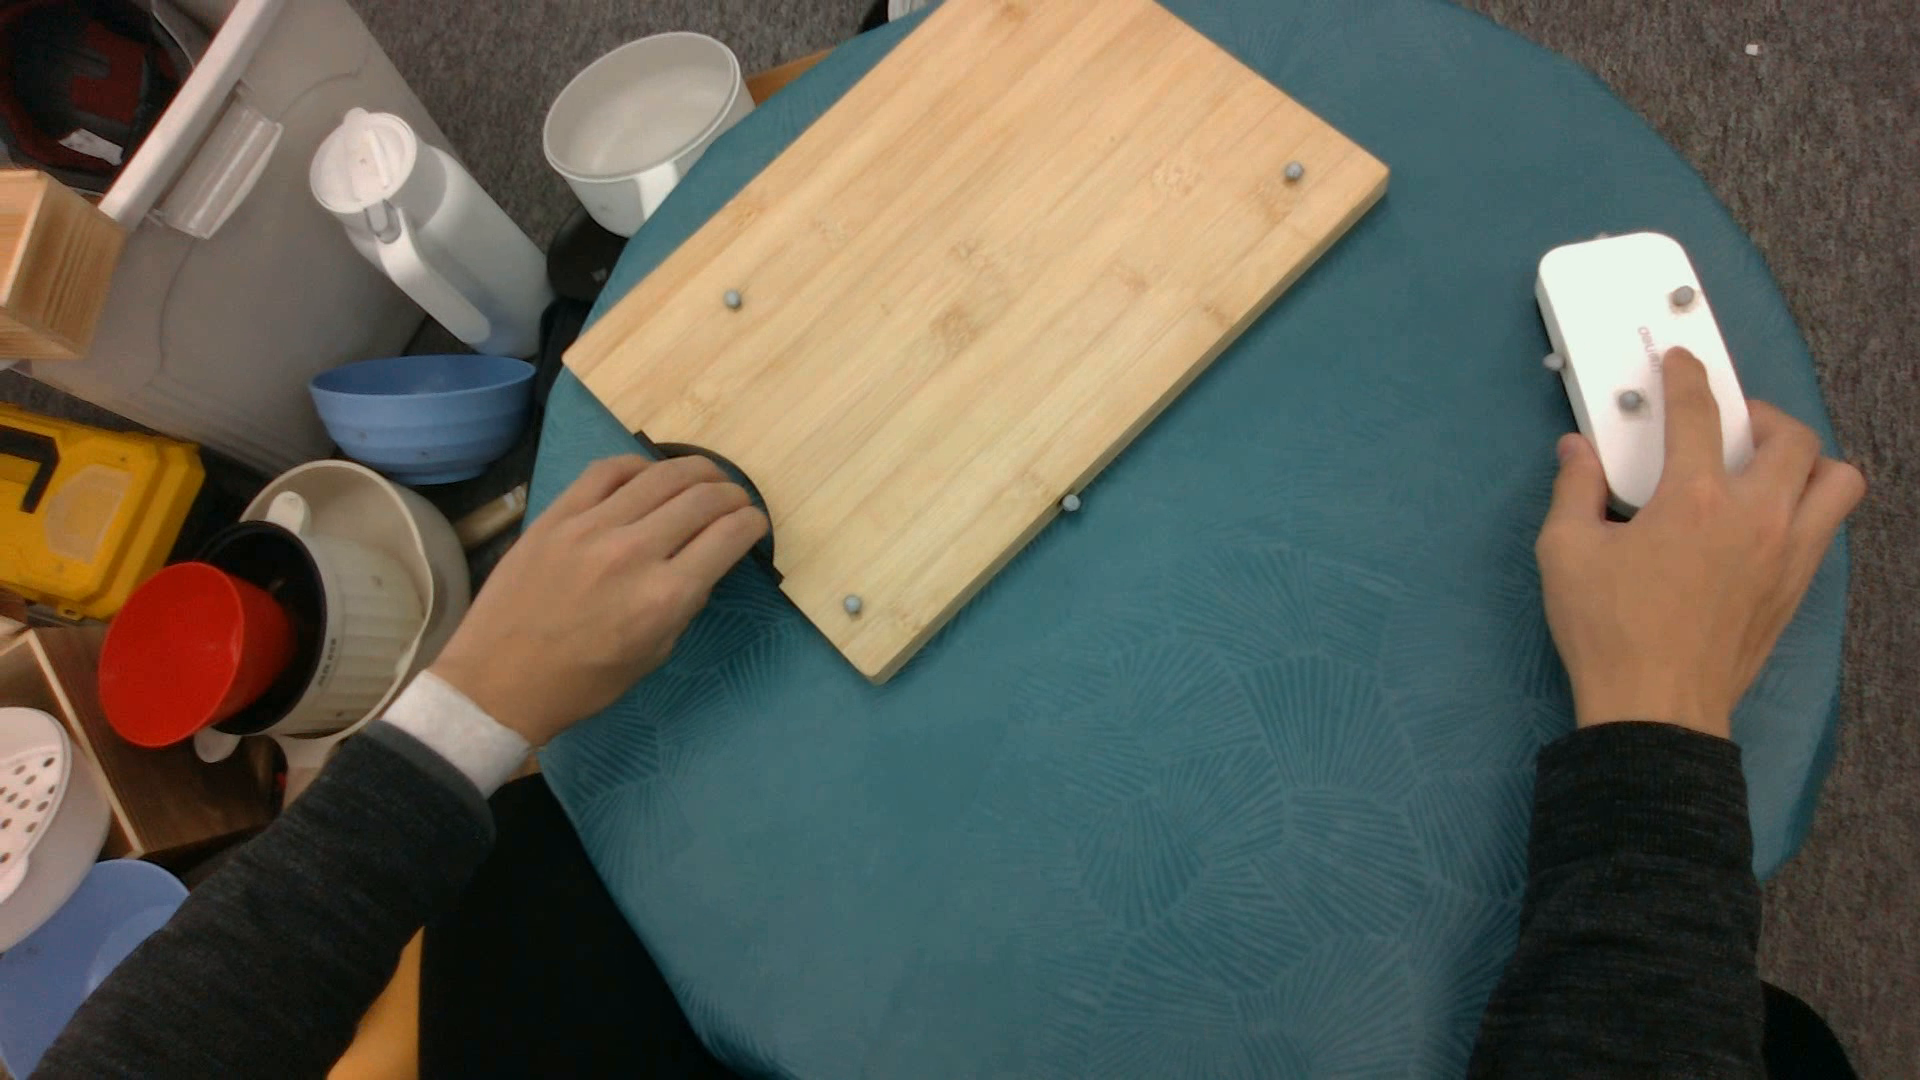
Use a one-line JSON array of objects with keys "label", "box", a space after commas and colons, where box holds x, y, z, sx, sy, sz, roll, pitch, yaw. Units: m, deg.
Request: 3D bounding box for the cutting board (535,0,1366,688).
[{"label": "cutting board", "box": [-0.008, -0.130, 0.679, 0.349, 0.023, 0.251, -45, 69, -7]}]

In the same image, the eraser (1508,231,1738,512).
[{"label": "eraser", "box": [0.279, -0.075, 0.590, 0.063, 0.034, 0.132, -8, 61, 5]}]
